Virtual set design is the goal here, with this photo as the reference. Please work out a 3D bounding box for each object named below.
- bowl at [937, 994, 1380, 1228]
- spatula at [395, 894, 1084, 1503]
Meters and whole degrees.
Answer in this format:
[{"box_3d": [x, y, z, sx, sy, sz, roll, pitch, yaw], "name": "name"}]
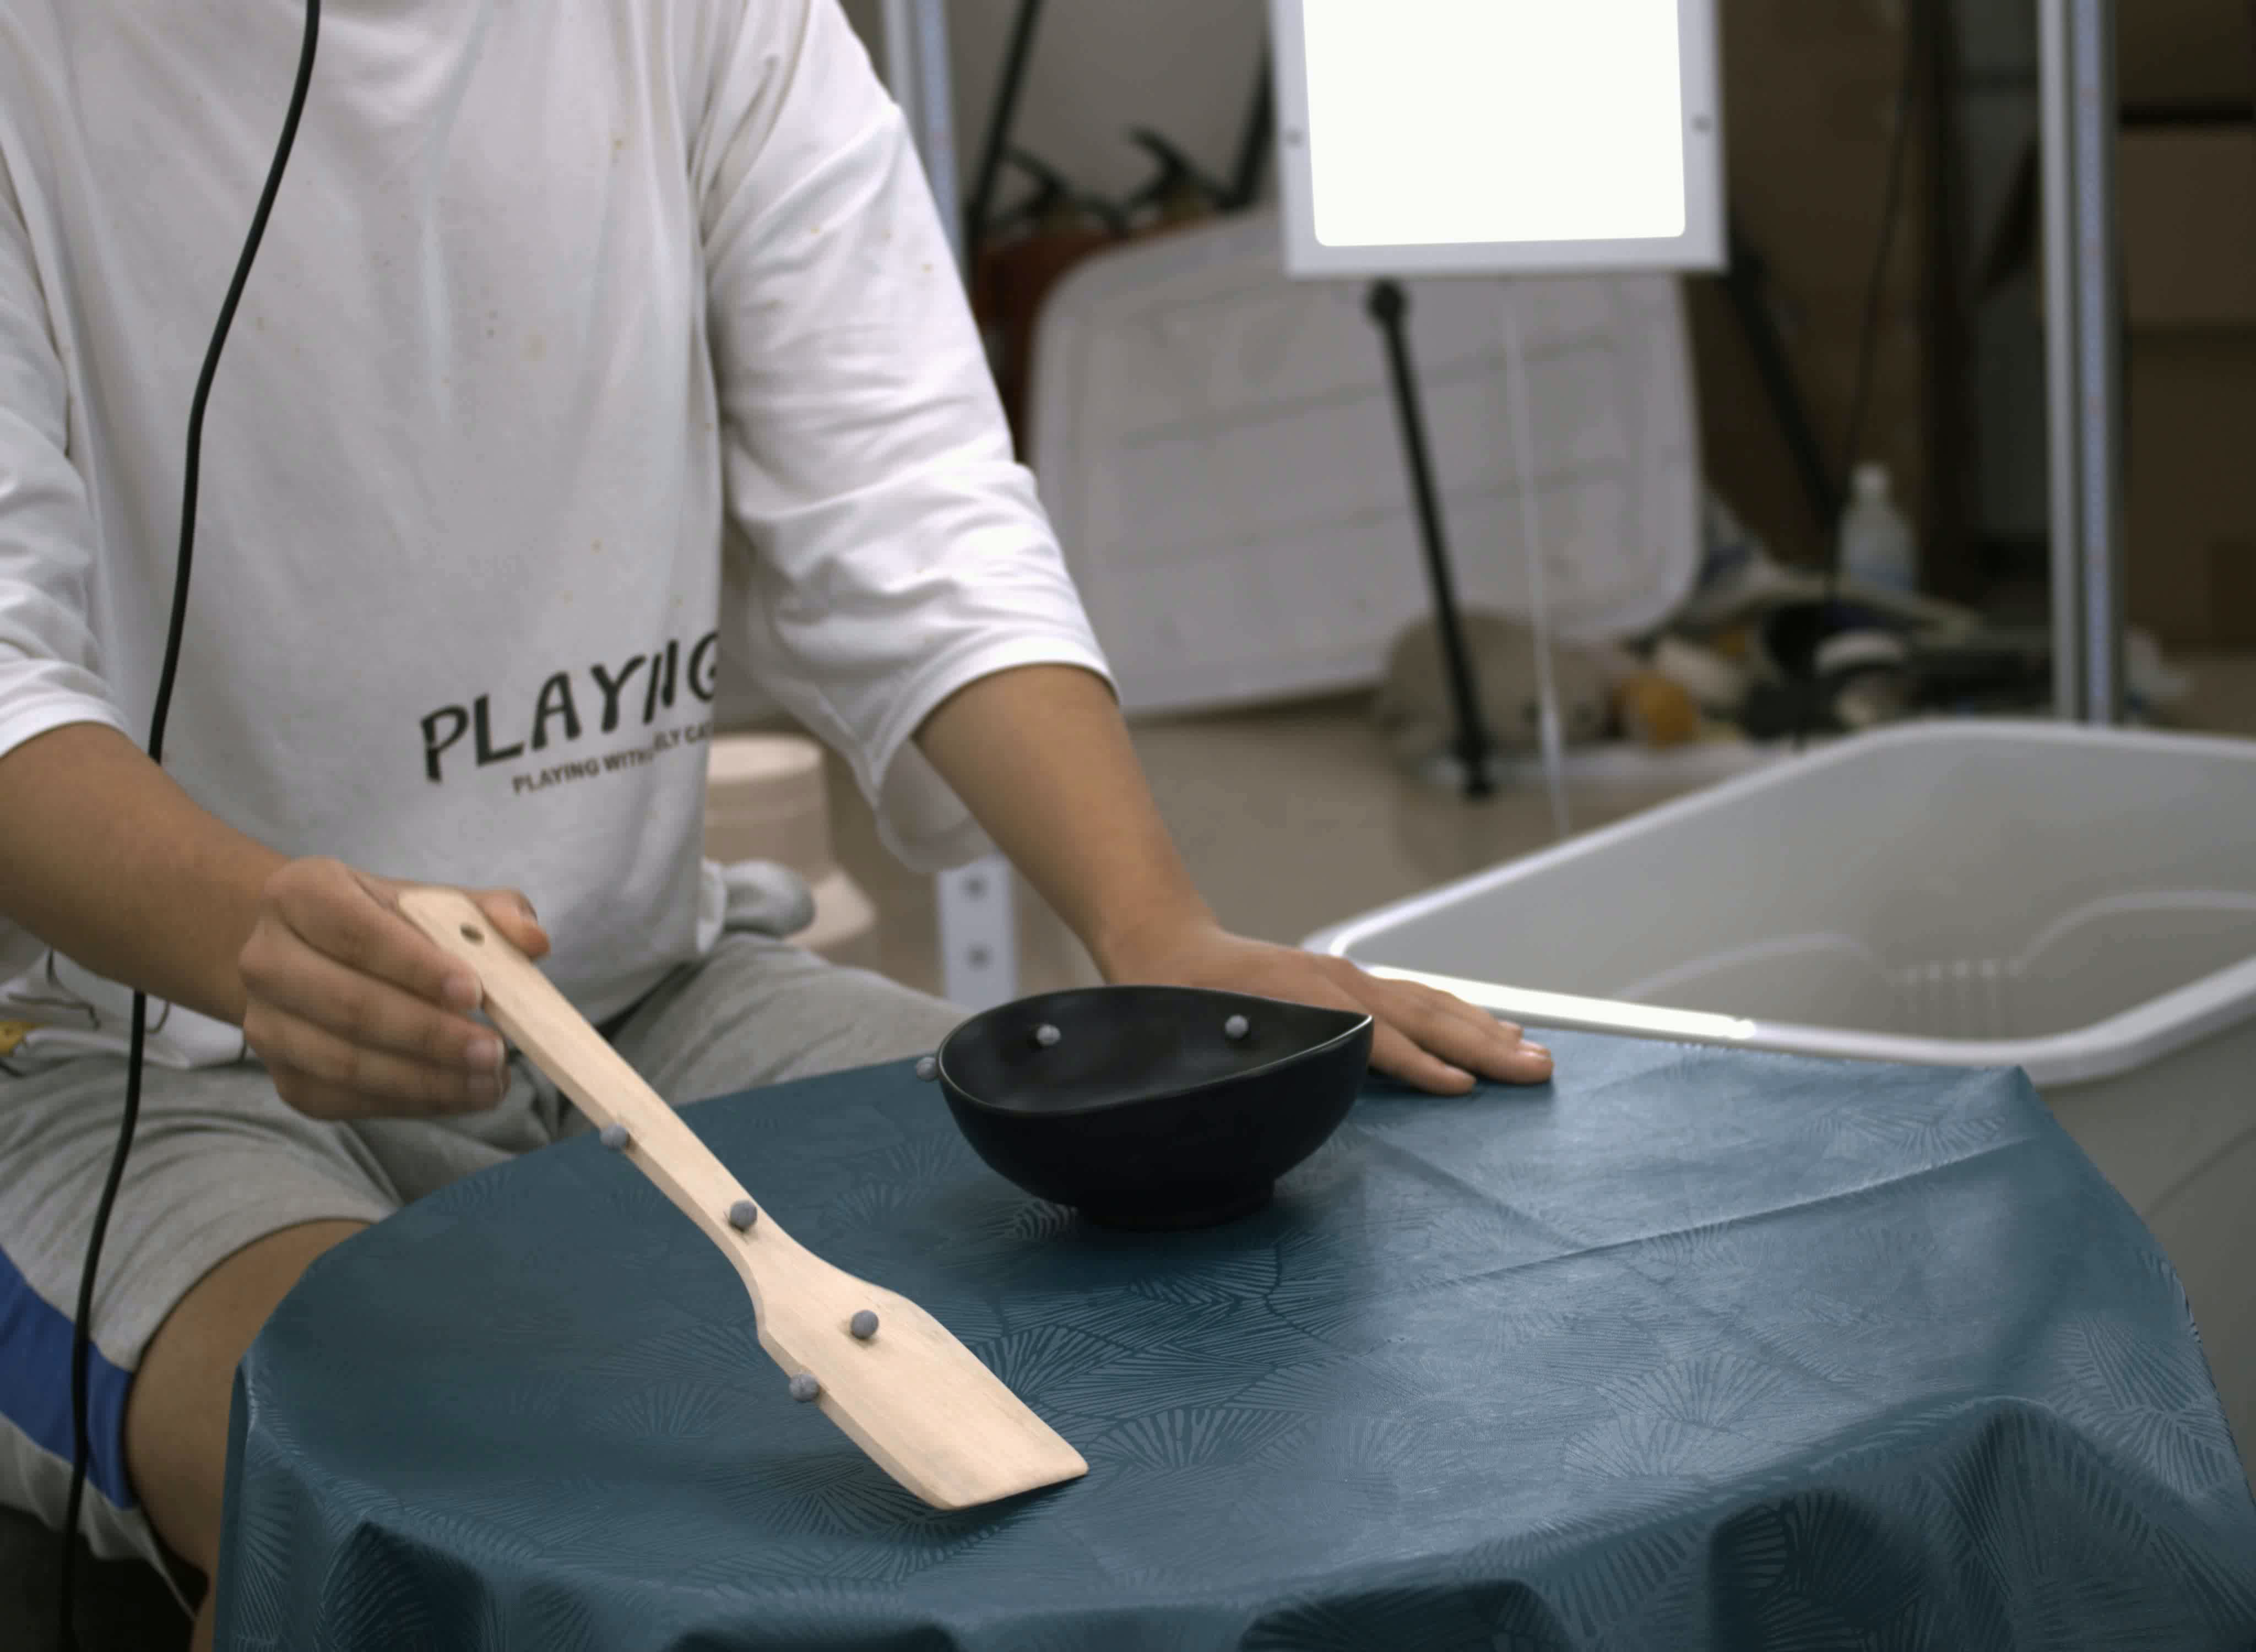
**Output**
[{"box_3d": [0.013, 0.098, 1.877, 0.140, 0.067, 0.166, 6, 15, 40], "name": "bowl"}, {"box_3d": [-0.130, 0.109, 1.679, 0.296, 0.011, 0.070, 41, 28, 29], "name": "spatula"}]
